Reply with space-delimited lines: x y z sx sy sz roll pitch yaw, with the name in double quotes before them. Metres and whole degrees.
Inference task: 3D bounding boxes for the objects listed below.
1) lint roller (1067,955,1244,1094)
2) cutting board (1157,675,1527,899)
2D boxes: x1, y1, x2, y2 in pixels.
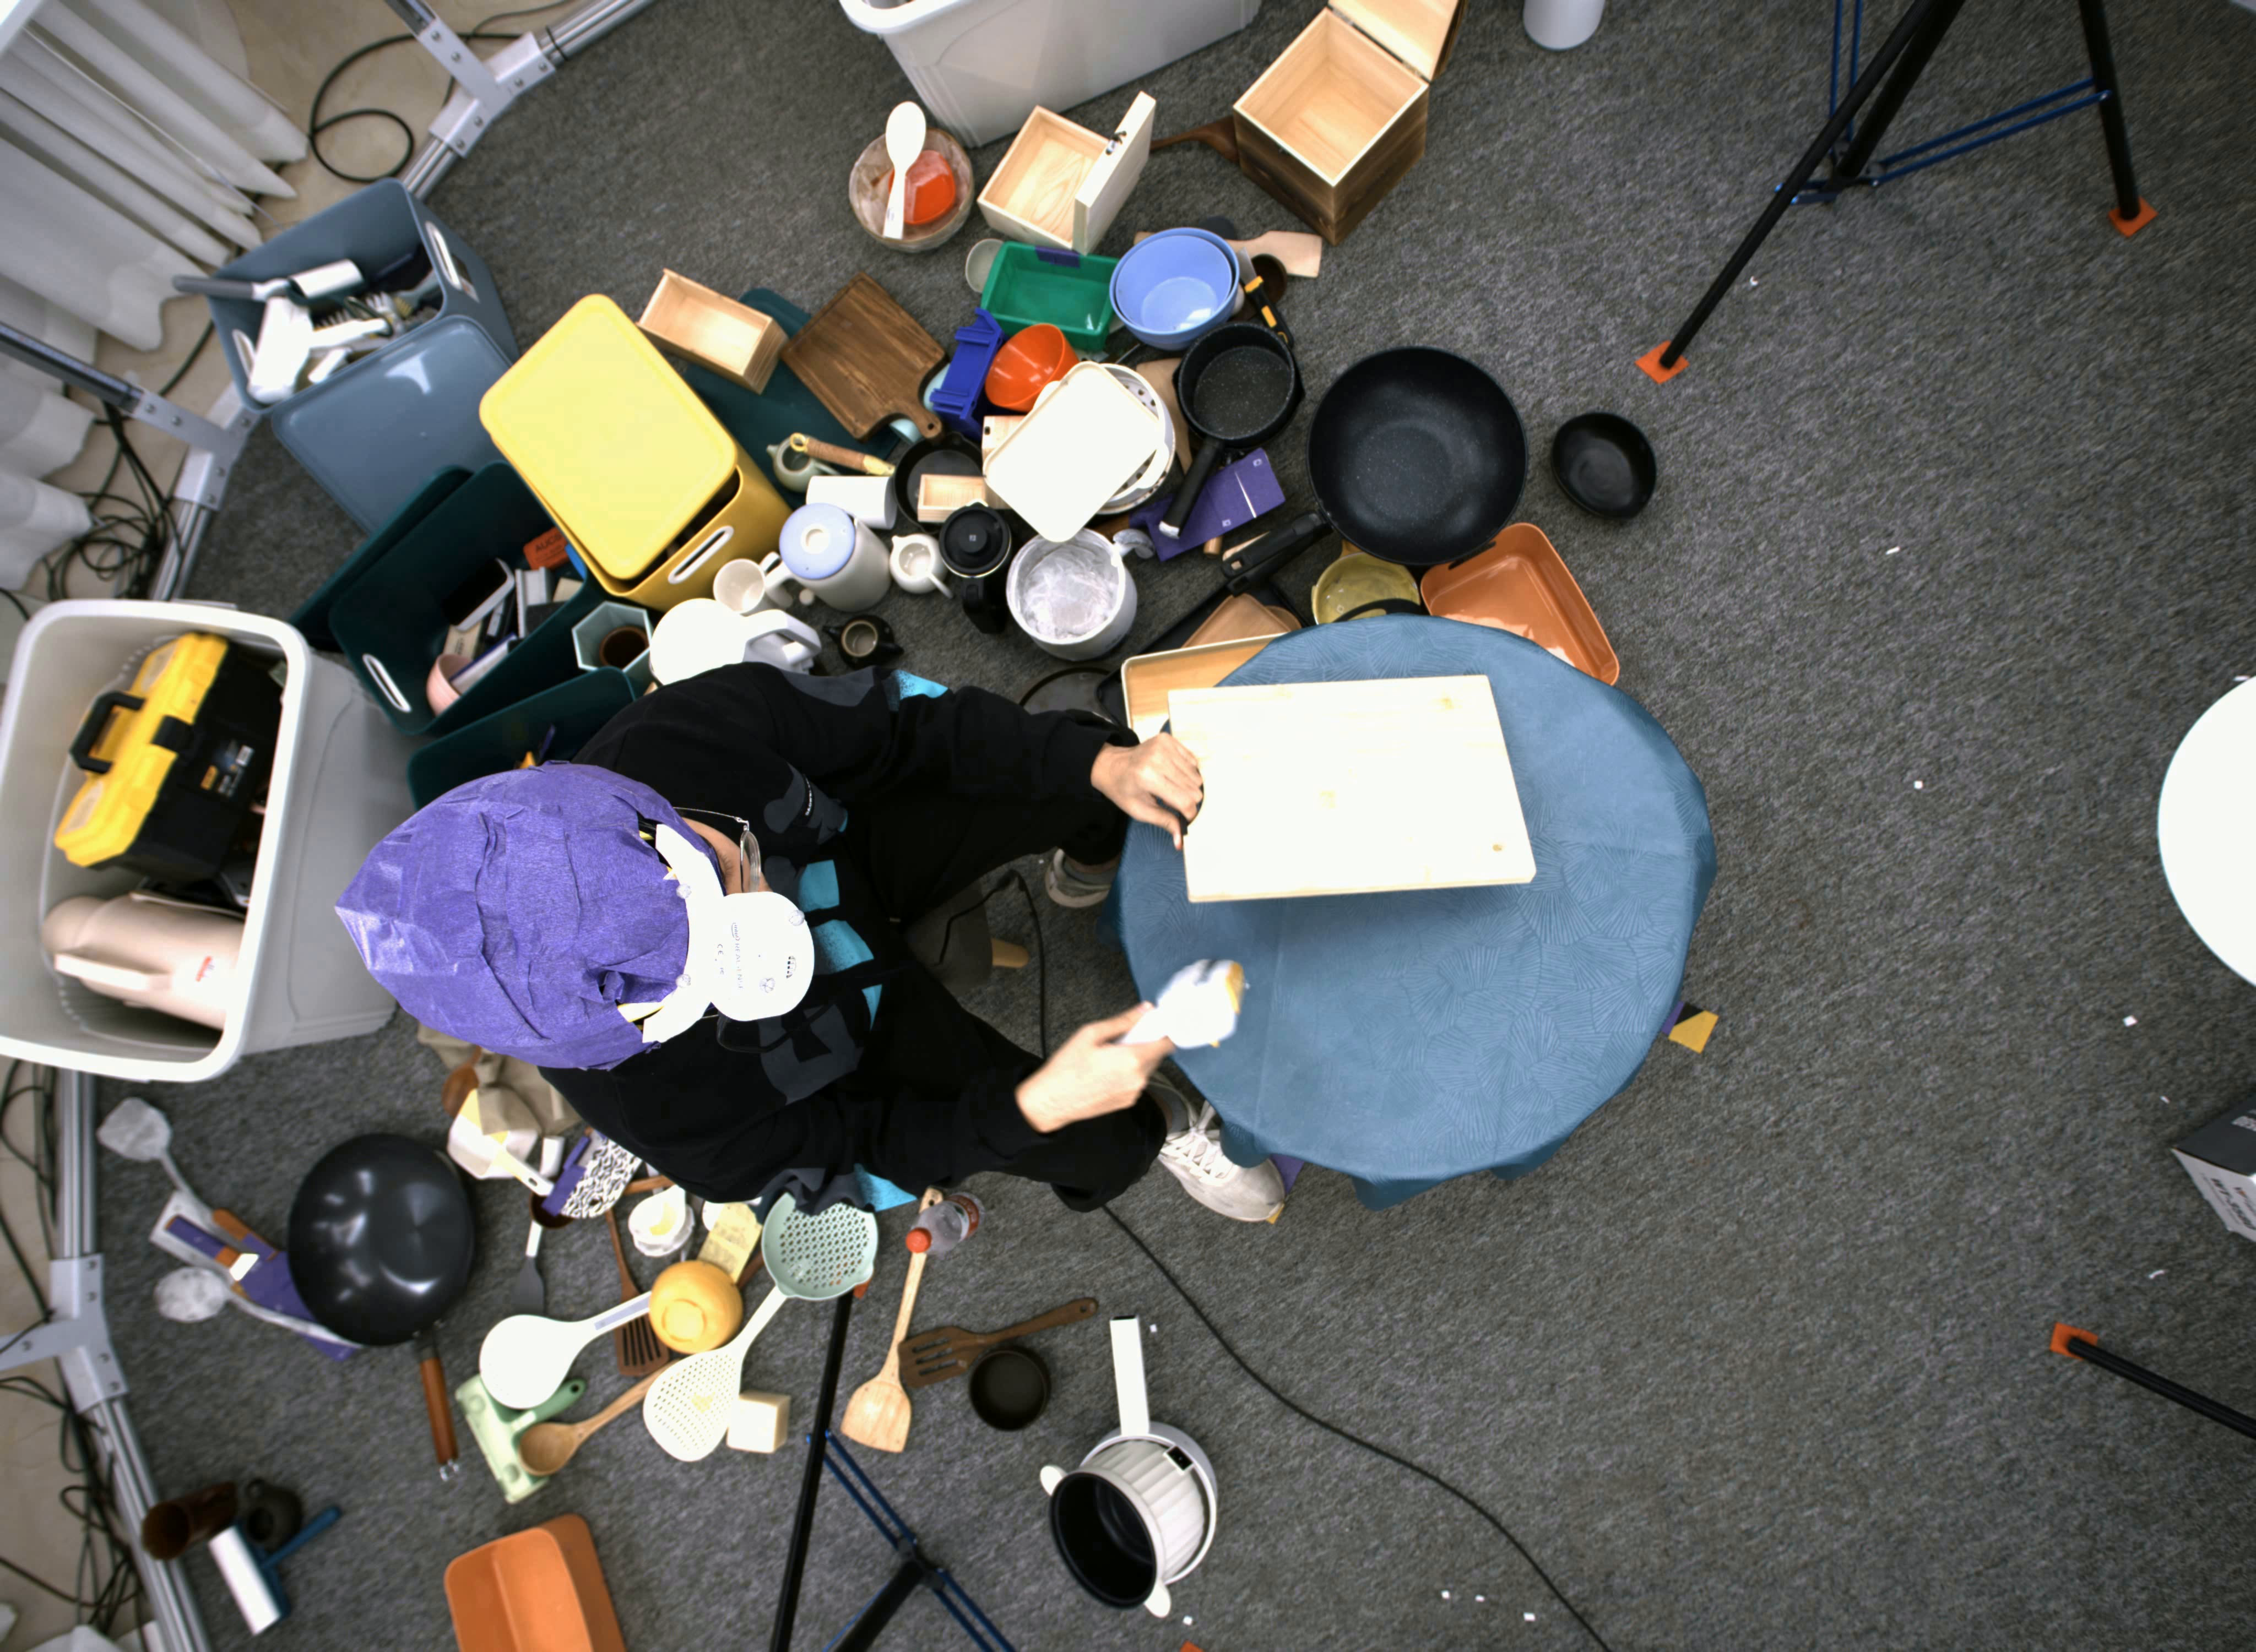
"lint roller" 0.018 0.194 1.334 0.194 0.191 0.074 -27 92 14
"cutting board" 0.211 -0.045 1.380 0.349 0.024 0.245 -4 62 -3
